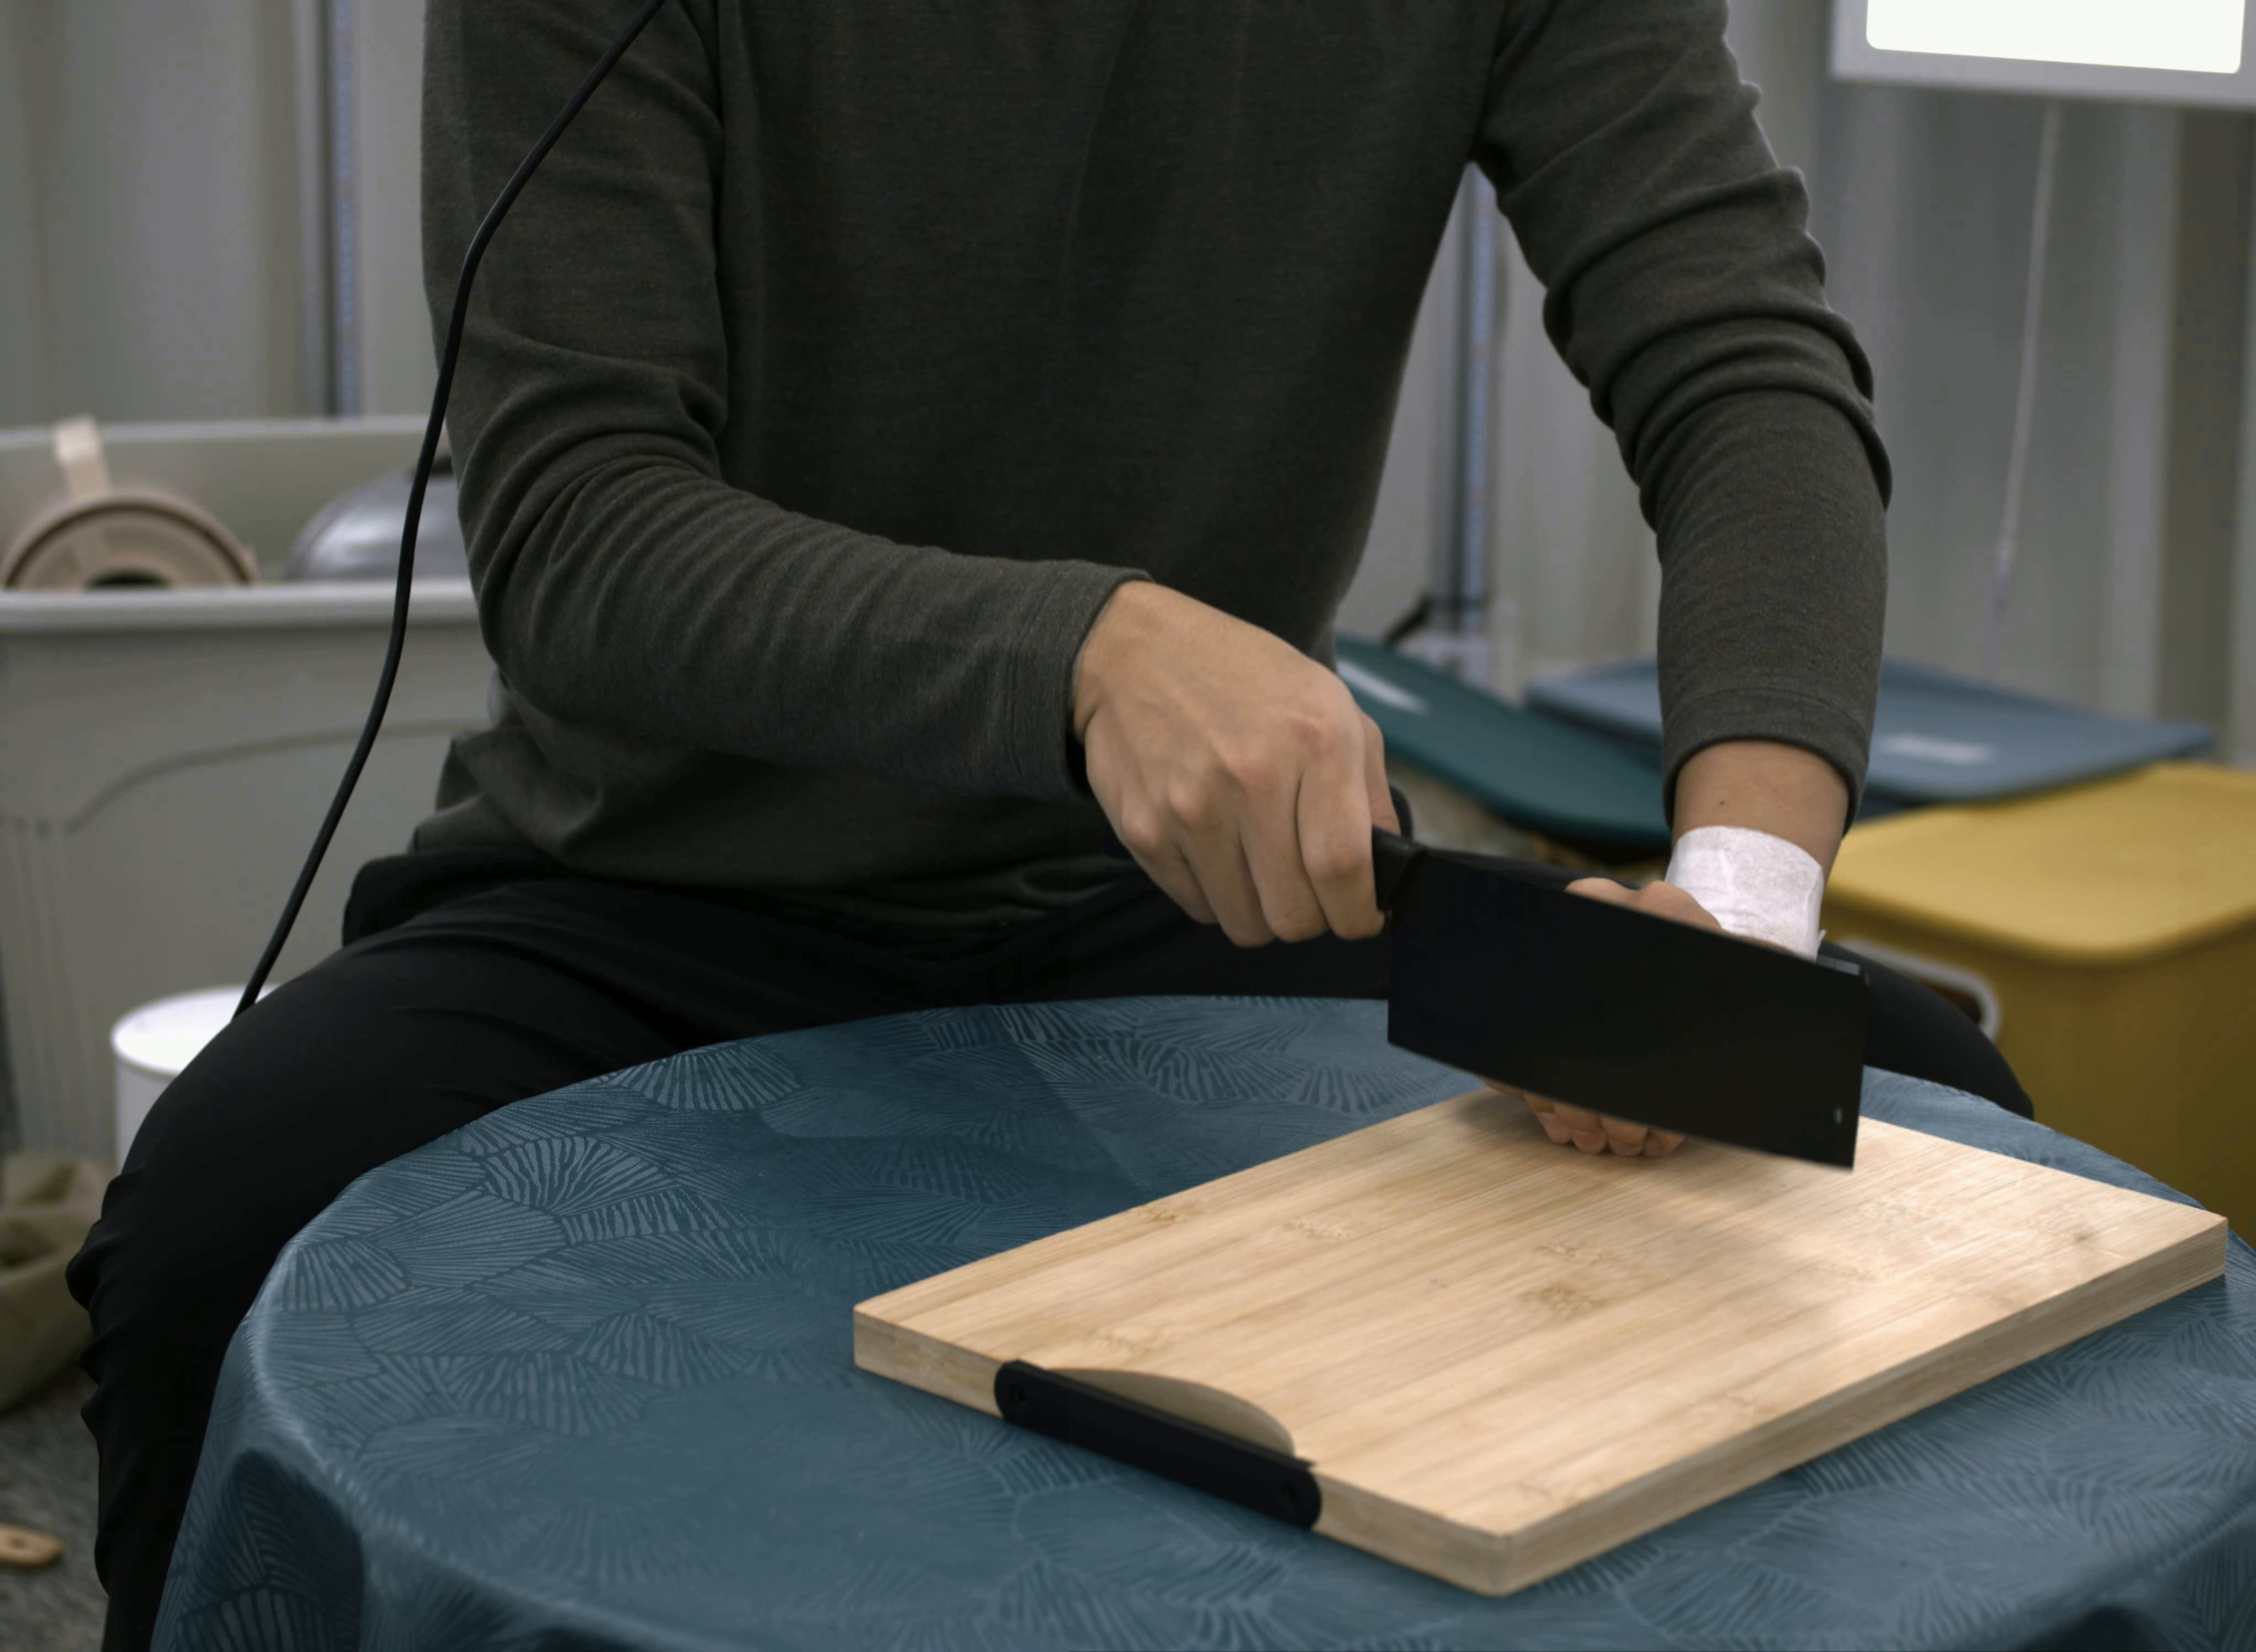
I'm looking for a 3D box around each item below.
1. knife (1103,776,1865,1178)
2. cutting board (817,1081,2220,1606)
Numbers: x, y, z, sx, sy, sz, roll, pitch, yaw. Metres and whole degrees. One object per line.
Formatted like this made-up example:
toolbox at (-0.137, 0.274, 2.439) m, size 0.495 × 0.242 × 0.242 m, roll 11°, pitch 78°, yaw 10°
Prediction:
knife at (0.103, 0.040, 1.609) m, size 0.298 × 0.081 × 0.021 m, roll 22°, pitch 23°, yaw 39°
cutting board at (0.119, 0.135, 1.517) m, size 0.247 × 0.024 × 0.350 m, roll 13°, pitch 20°, yaw 41°
